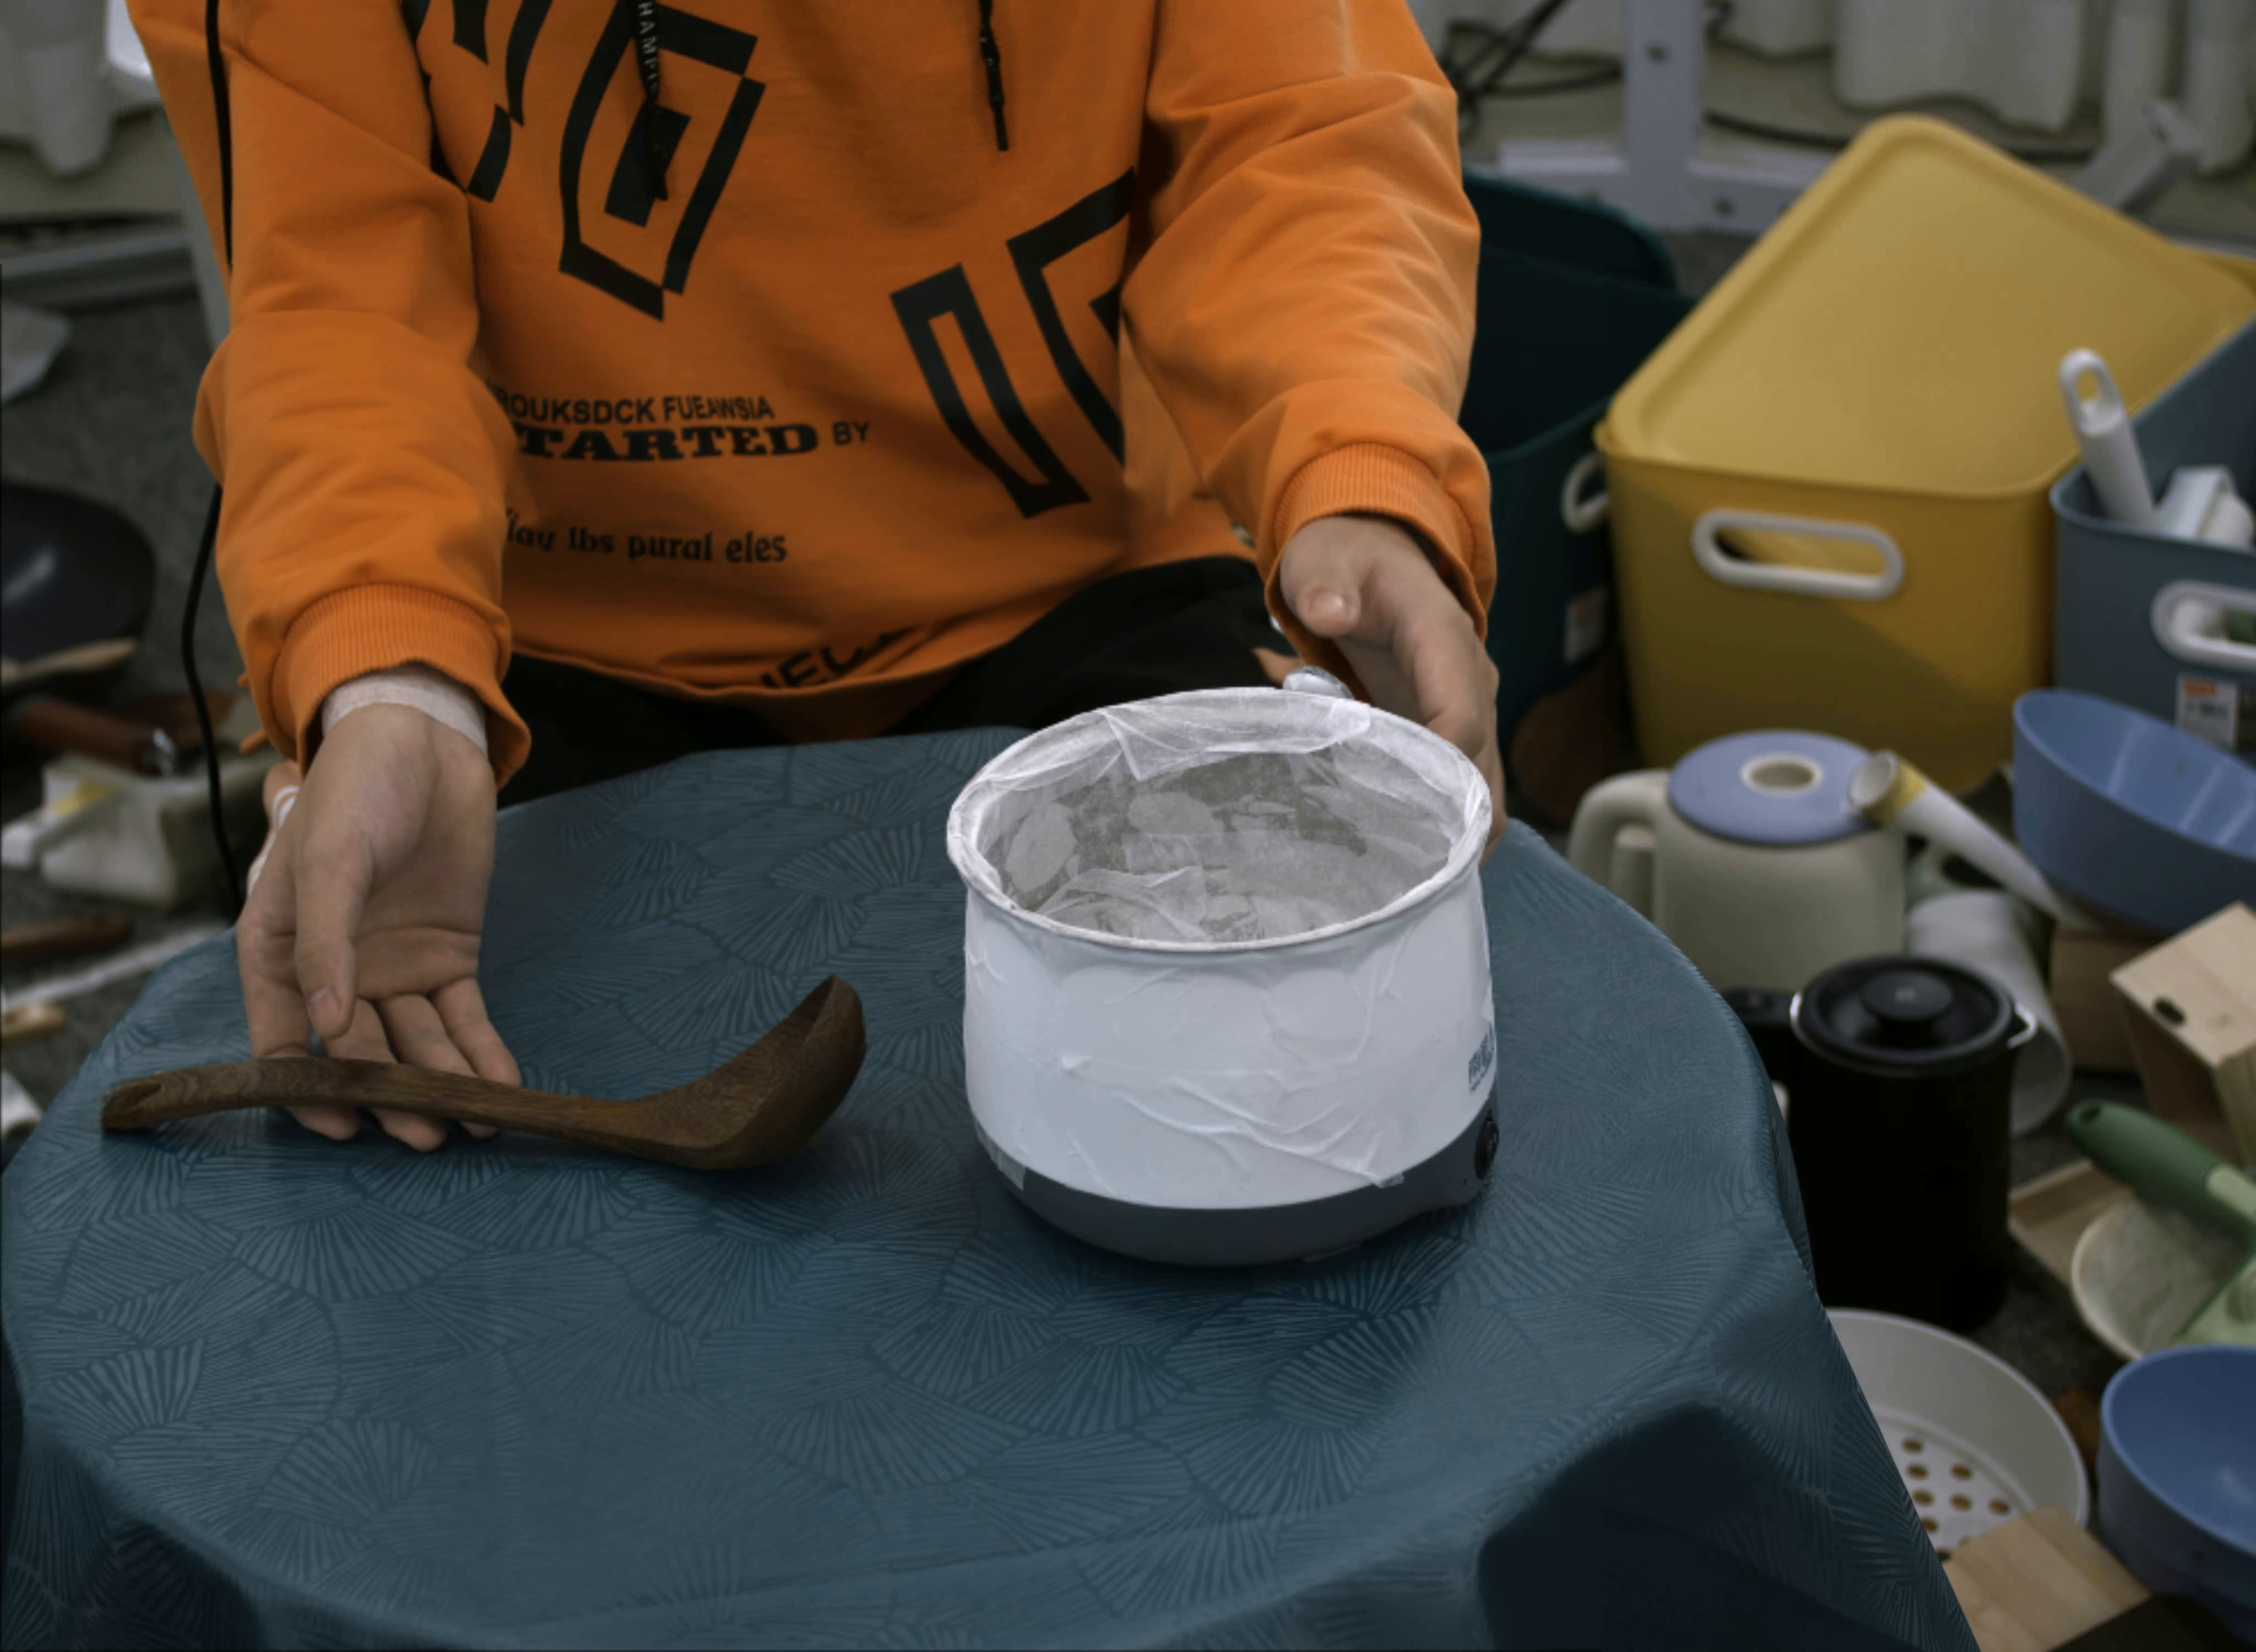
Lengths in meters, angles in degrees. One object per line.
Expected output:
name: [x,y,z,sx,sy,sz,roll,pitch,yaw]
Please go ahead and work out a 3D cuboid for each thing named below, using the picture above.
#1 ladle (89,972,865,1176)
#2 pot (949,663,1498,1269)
ladle: [-0.222,0.078,1.894,0.272,0.070,0.077,3,25,10]
pot: [0.041,0.039,1.871,0.177,0.135,0.238,6,29,16]
